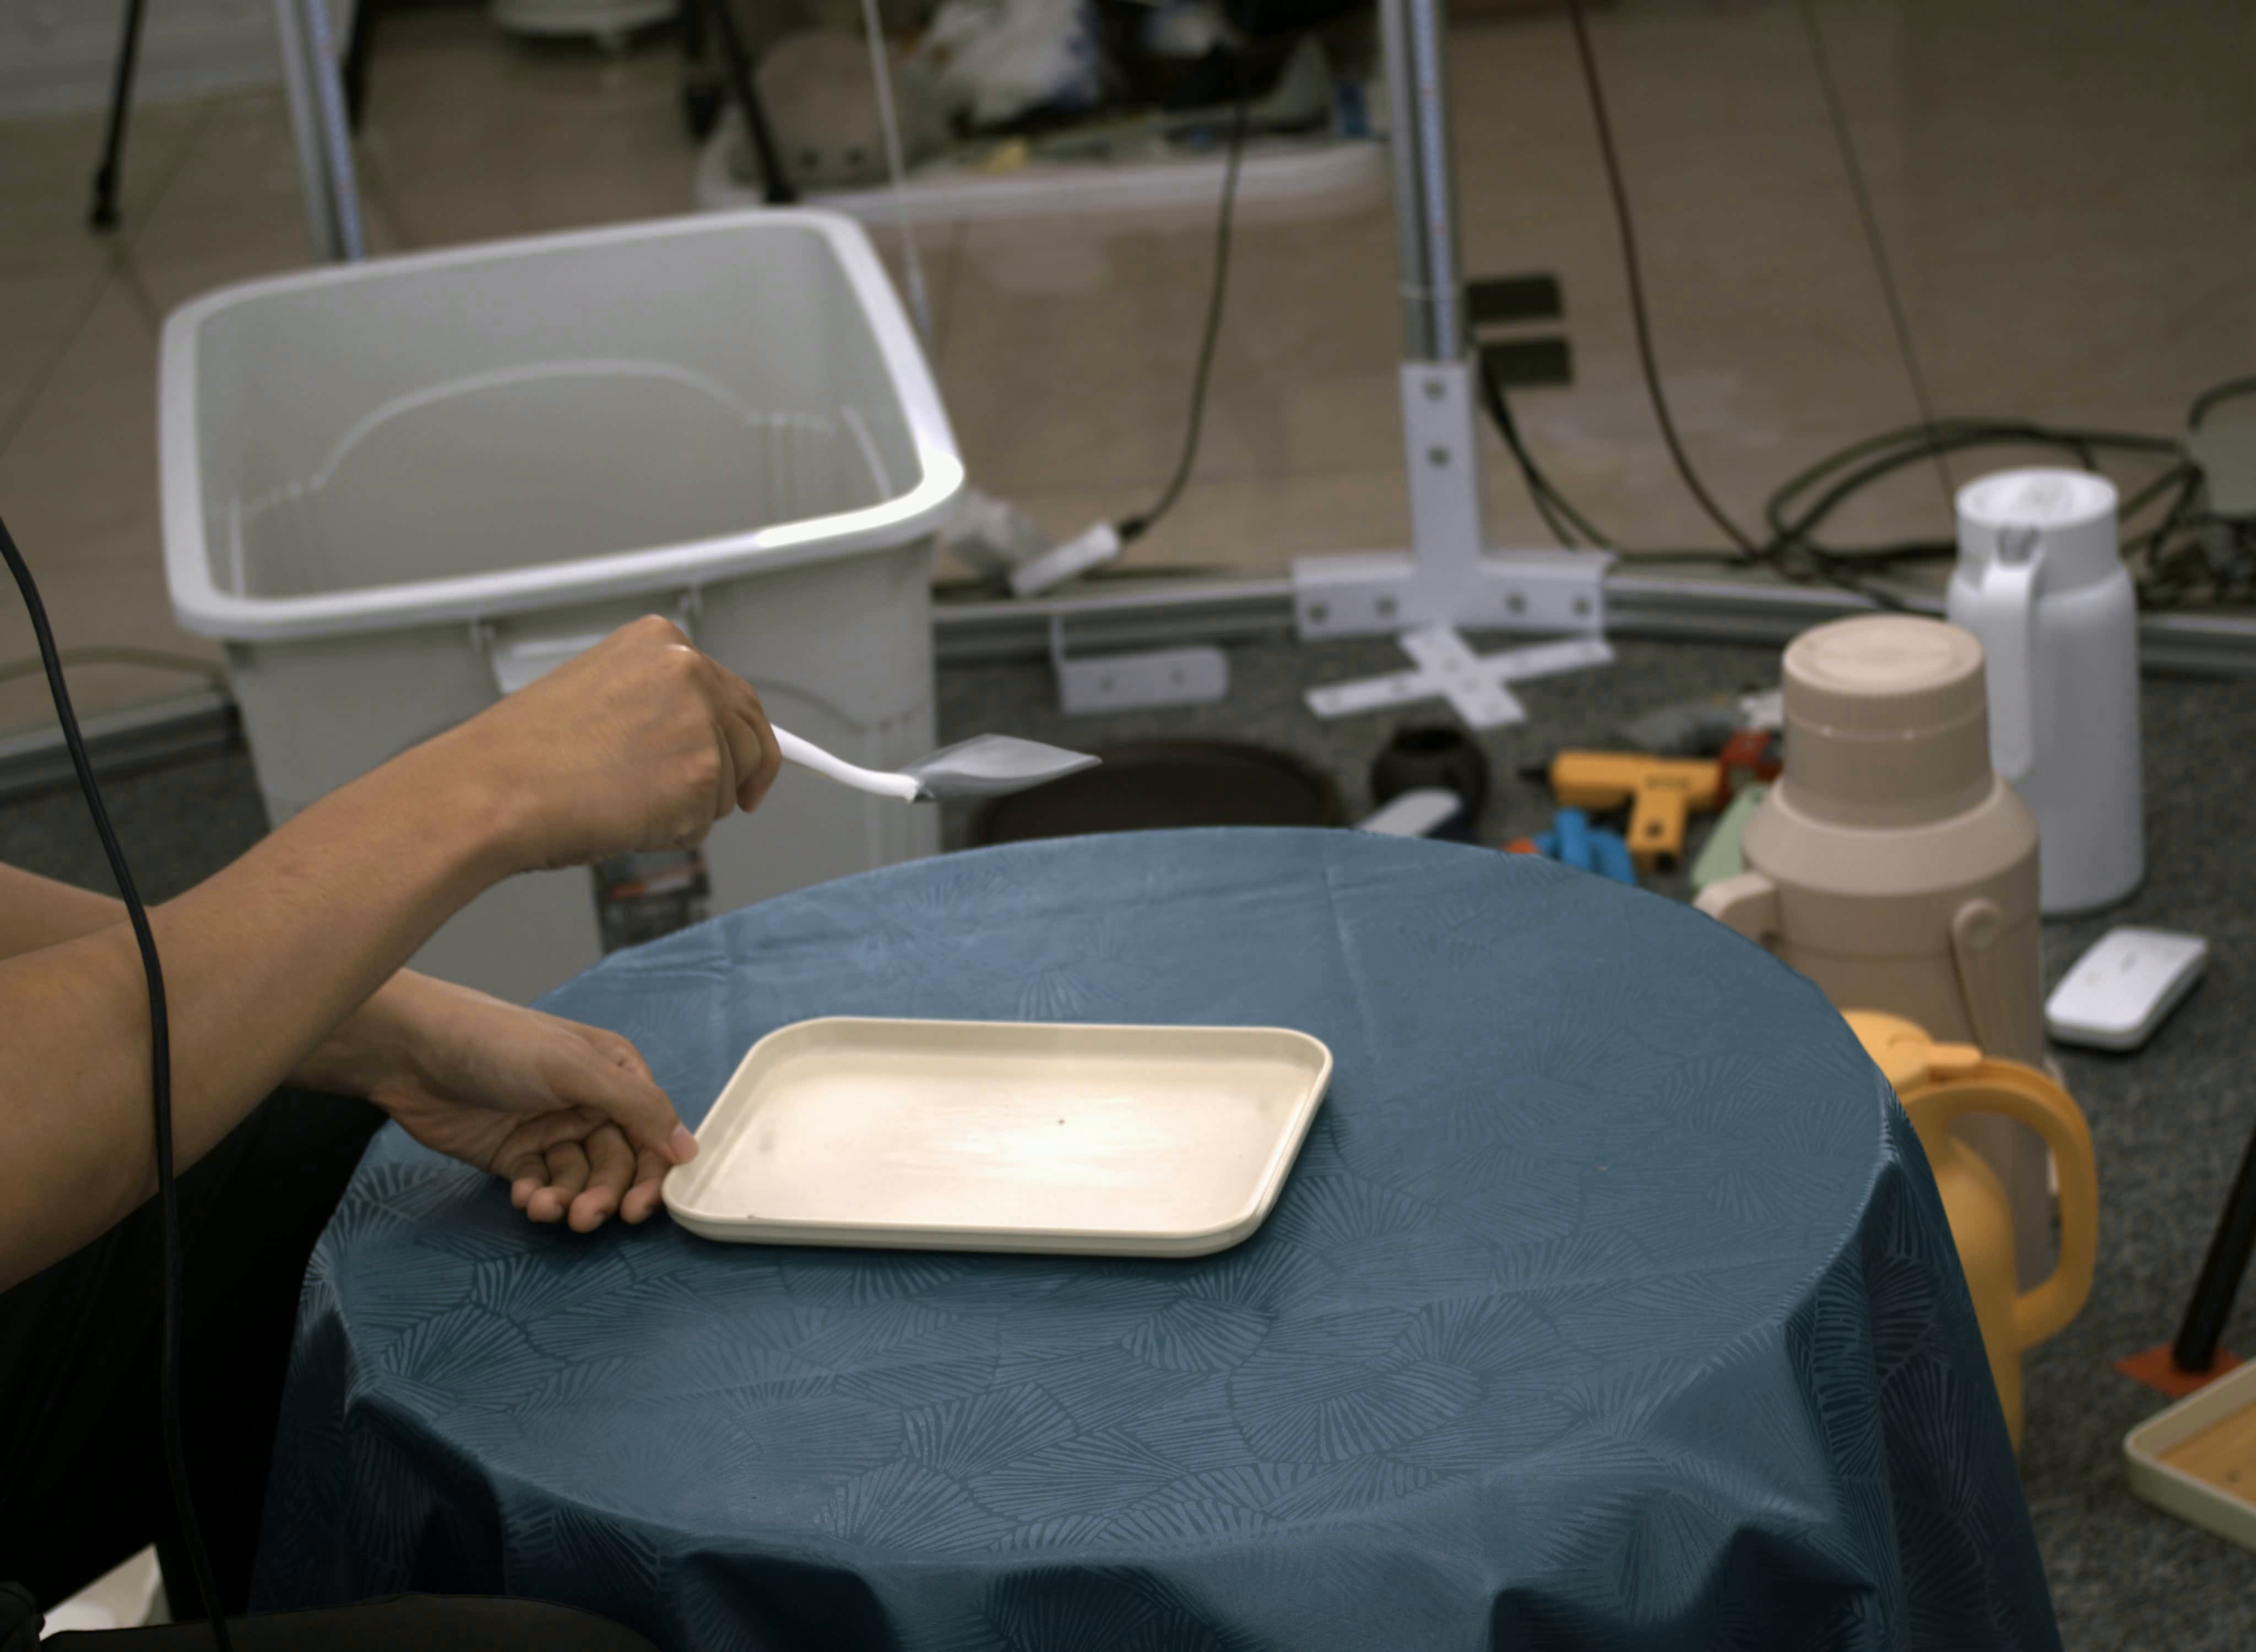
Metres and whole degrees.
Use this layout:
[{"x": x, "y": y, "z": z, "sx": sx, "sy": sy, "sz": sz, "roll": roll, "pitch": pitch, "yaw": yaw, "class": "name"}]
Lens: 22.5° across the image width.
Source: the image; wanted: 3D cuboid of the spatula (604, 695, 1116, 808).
[{"x": -0.097, "y": -0.024, "z": 2.063, "sx": 0.058, "sy": 0.032, "sz": 0.288, "roll": 9, "pitch": 2, "yaw": 29, "class": "spatula"}]

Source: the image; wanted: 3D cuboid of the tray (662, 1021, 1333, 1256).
[{"x": -0.048, "y": 0.120, "z": 2.182, "sx": 0.239, "sy": 0.018, "sz": 0.169, "roll": 1, "pitch": 25, "yaw": 15, "class": "tray"}]
